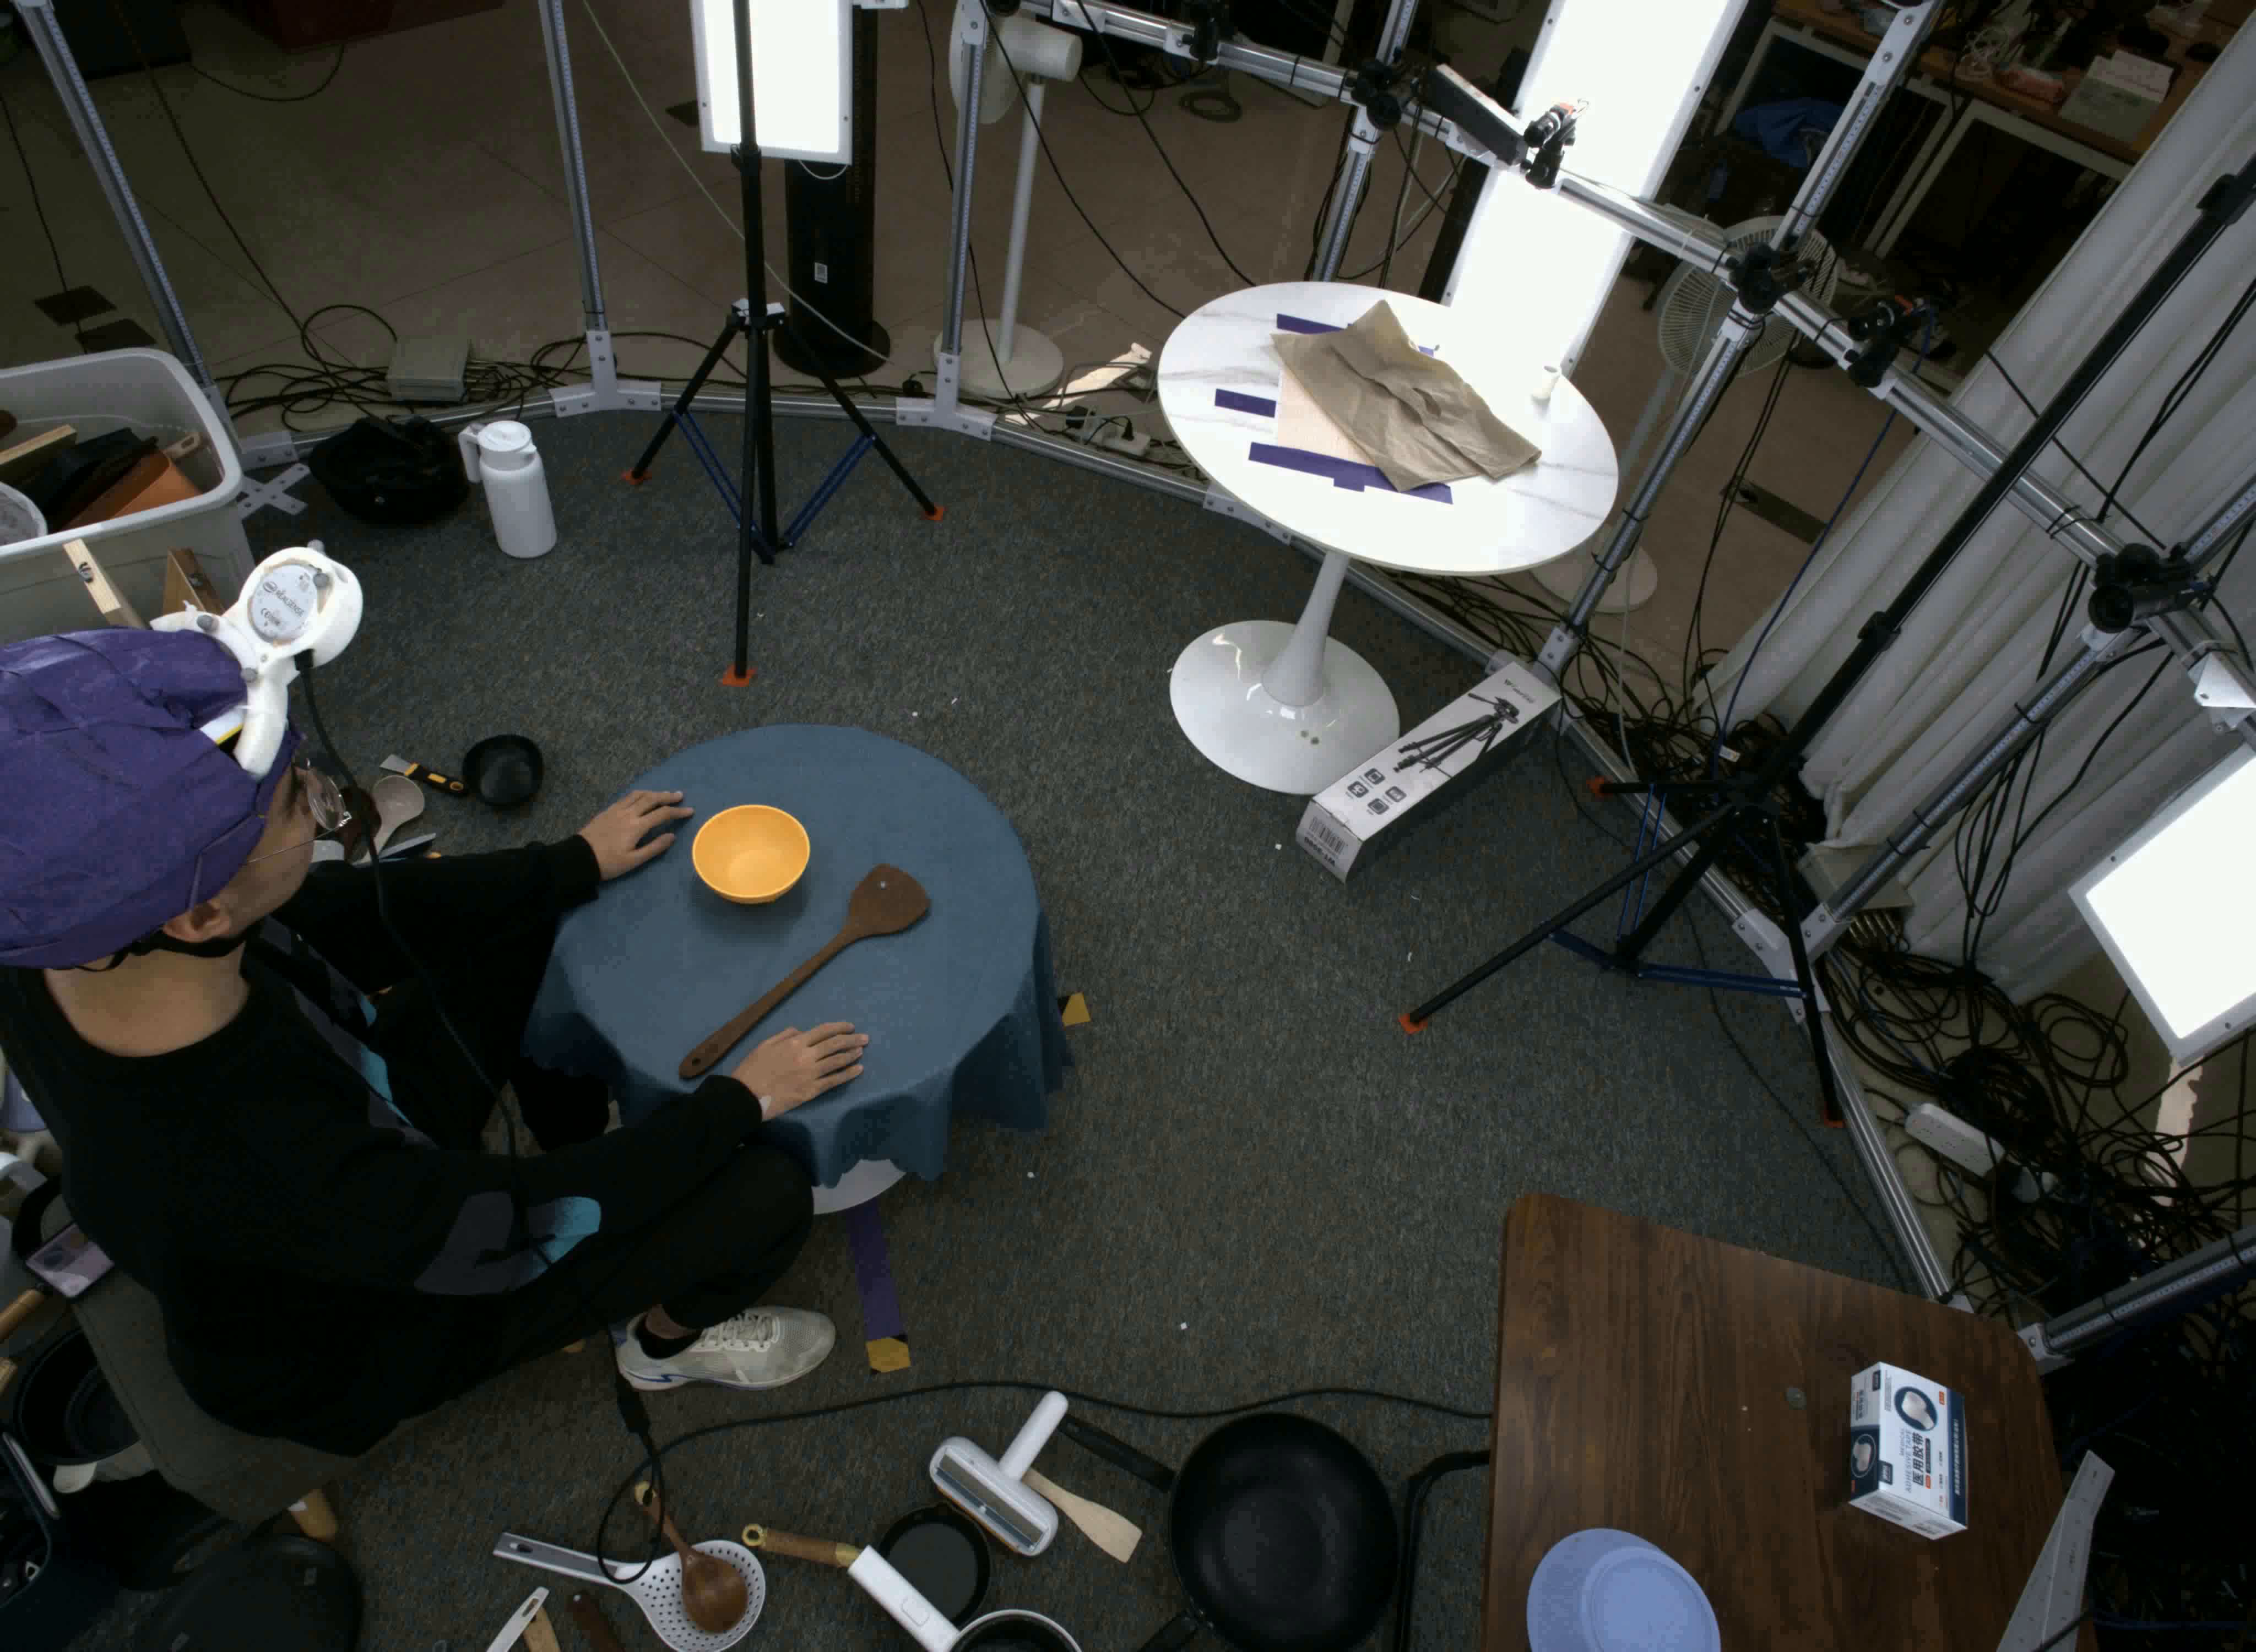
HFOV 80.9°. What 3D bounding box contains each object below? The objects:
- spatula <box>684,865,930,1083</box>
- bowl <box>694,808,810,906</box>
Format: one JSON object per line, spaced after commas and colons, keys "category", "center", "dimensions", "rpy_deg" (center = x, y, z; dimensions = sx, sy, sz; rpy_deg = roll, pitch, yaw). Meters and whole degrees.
{"category": "spatula", "center": [-0.397, 0.179, 1.594], "dimensions": [0.094, 0.016, 0.386], "rpy_deg": [36, 54, 14]}
{"category": "bowl", "center": [-0.475, 0.049, 1.645], "dimensions": [0.144, 0.061, 0.142], "rpy_deg": [6, 51, -6]}
